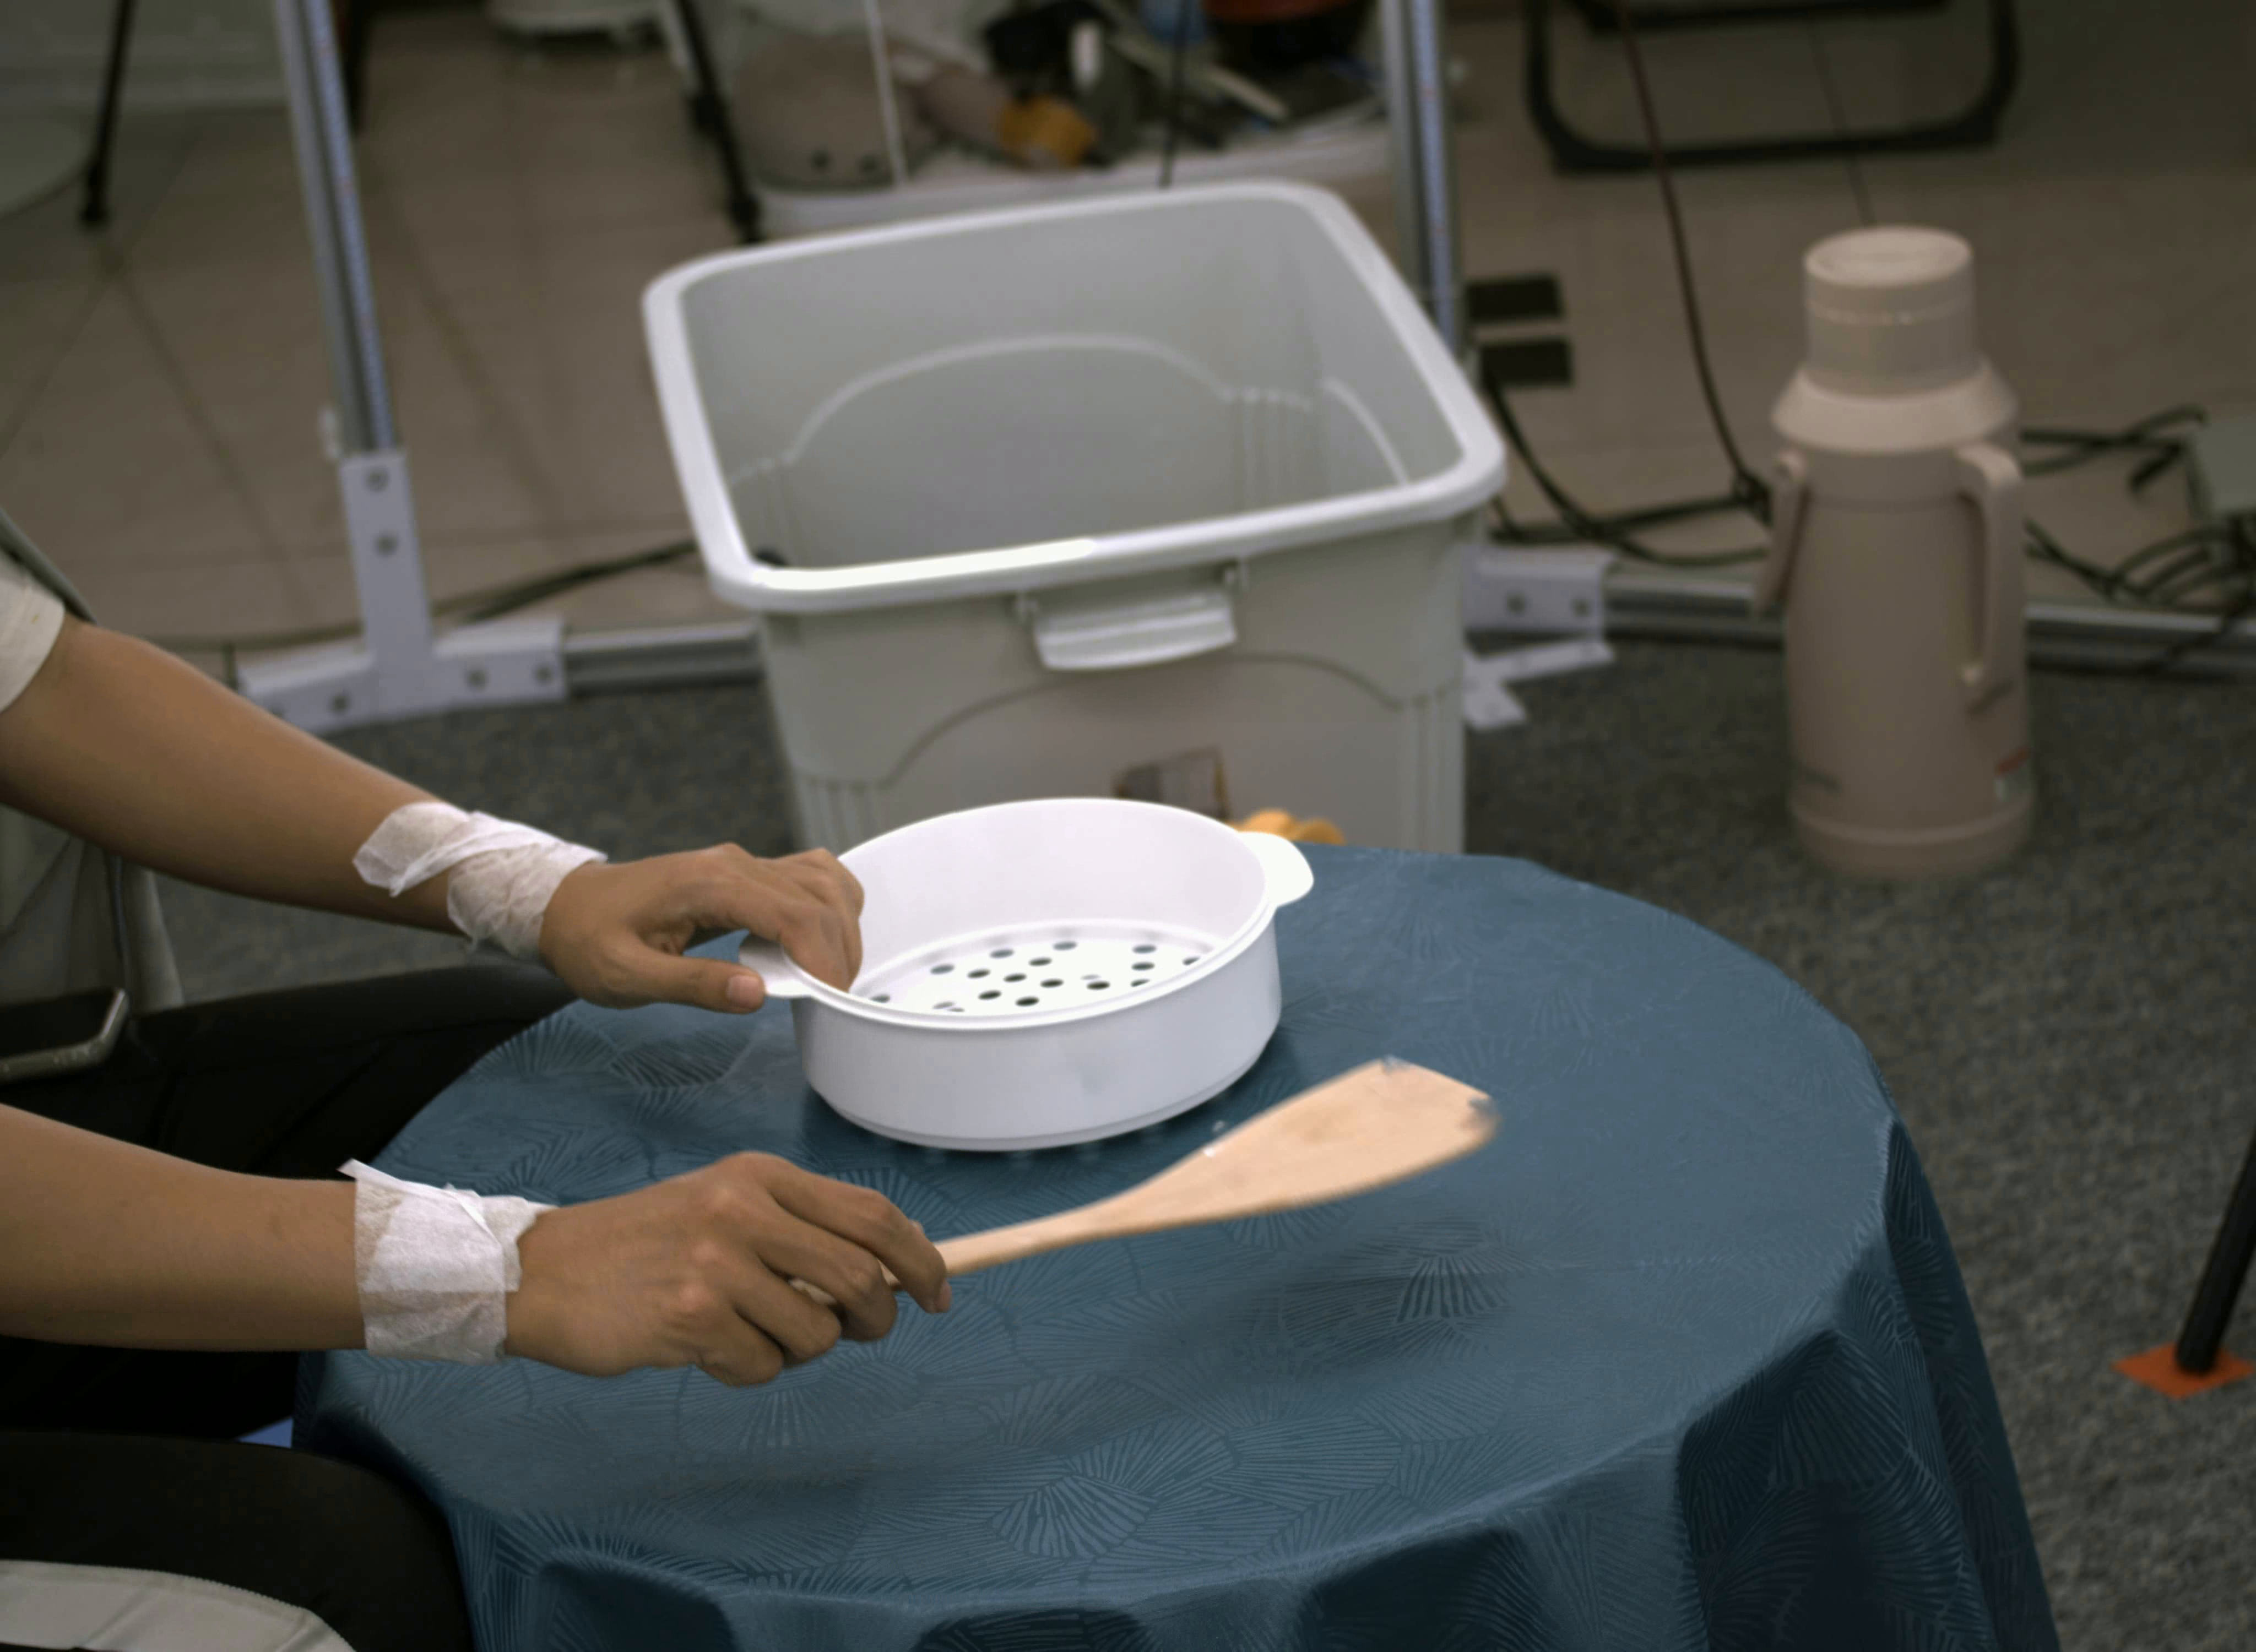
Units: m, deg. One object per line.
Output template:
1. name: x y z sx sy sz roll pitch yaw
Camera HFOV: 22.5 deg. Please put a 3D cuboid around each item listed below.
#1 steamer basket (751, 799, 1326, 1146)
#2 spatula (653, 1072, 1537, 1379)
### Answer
1. steamer basket: -0.032 0.059 2.252 0.230 0.070 0.199 -12 24 -9
2. spatula: -0.015 0.141 1.997 0.326 0.017 0.079 -15 25 -20
